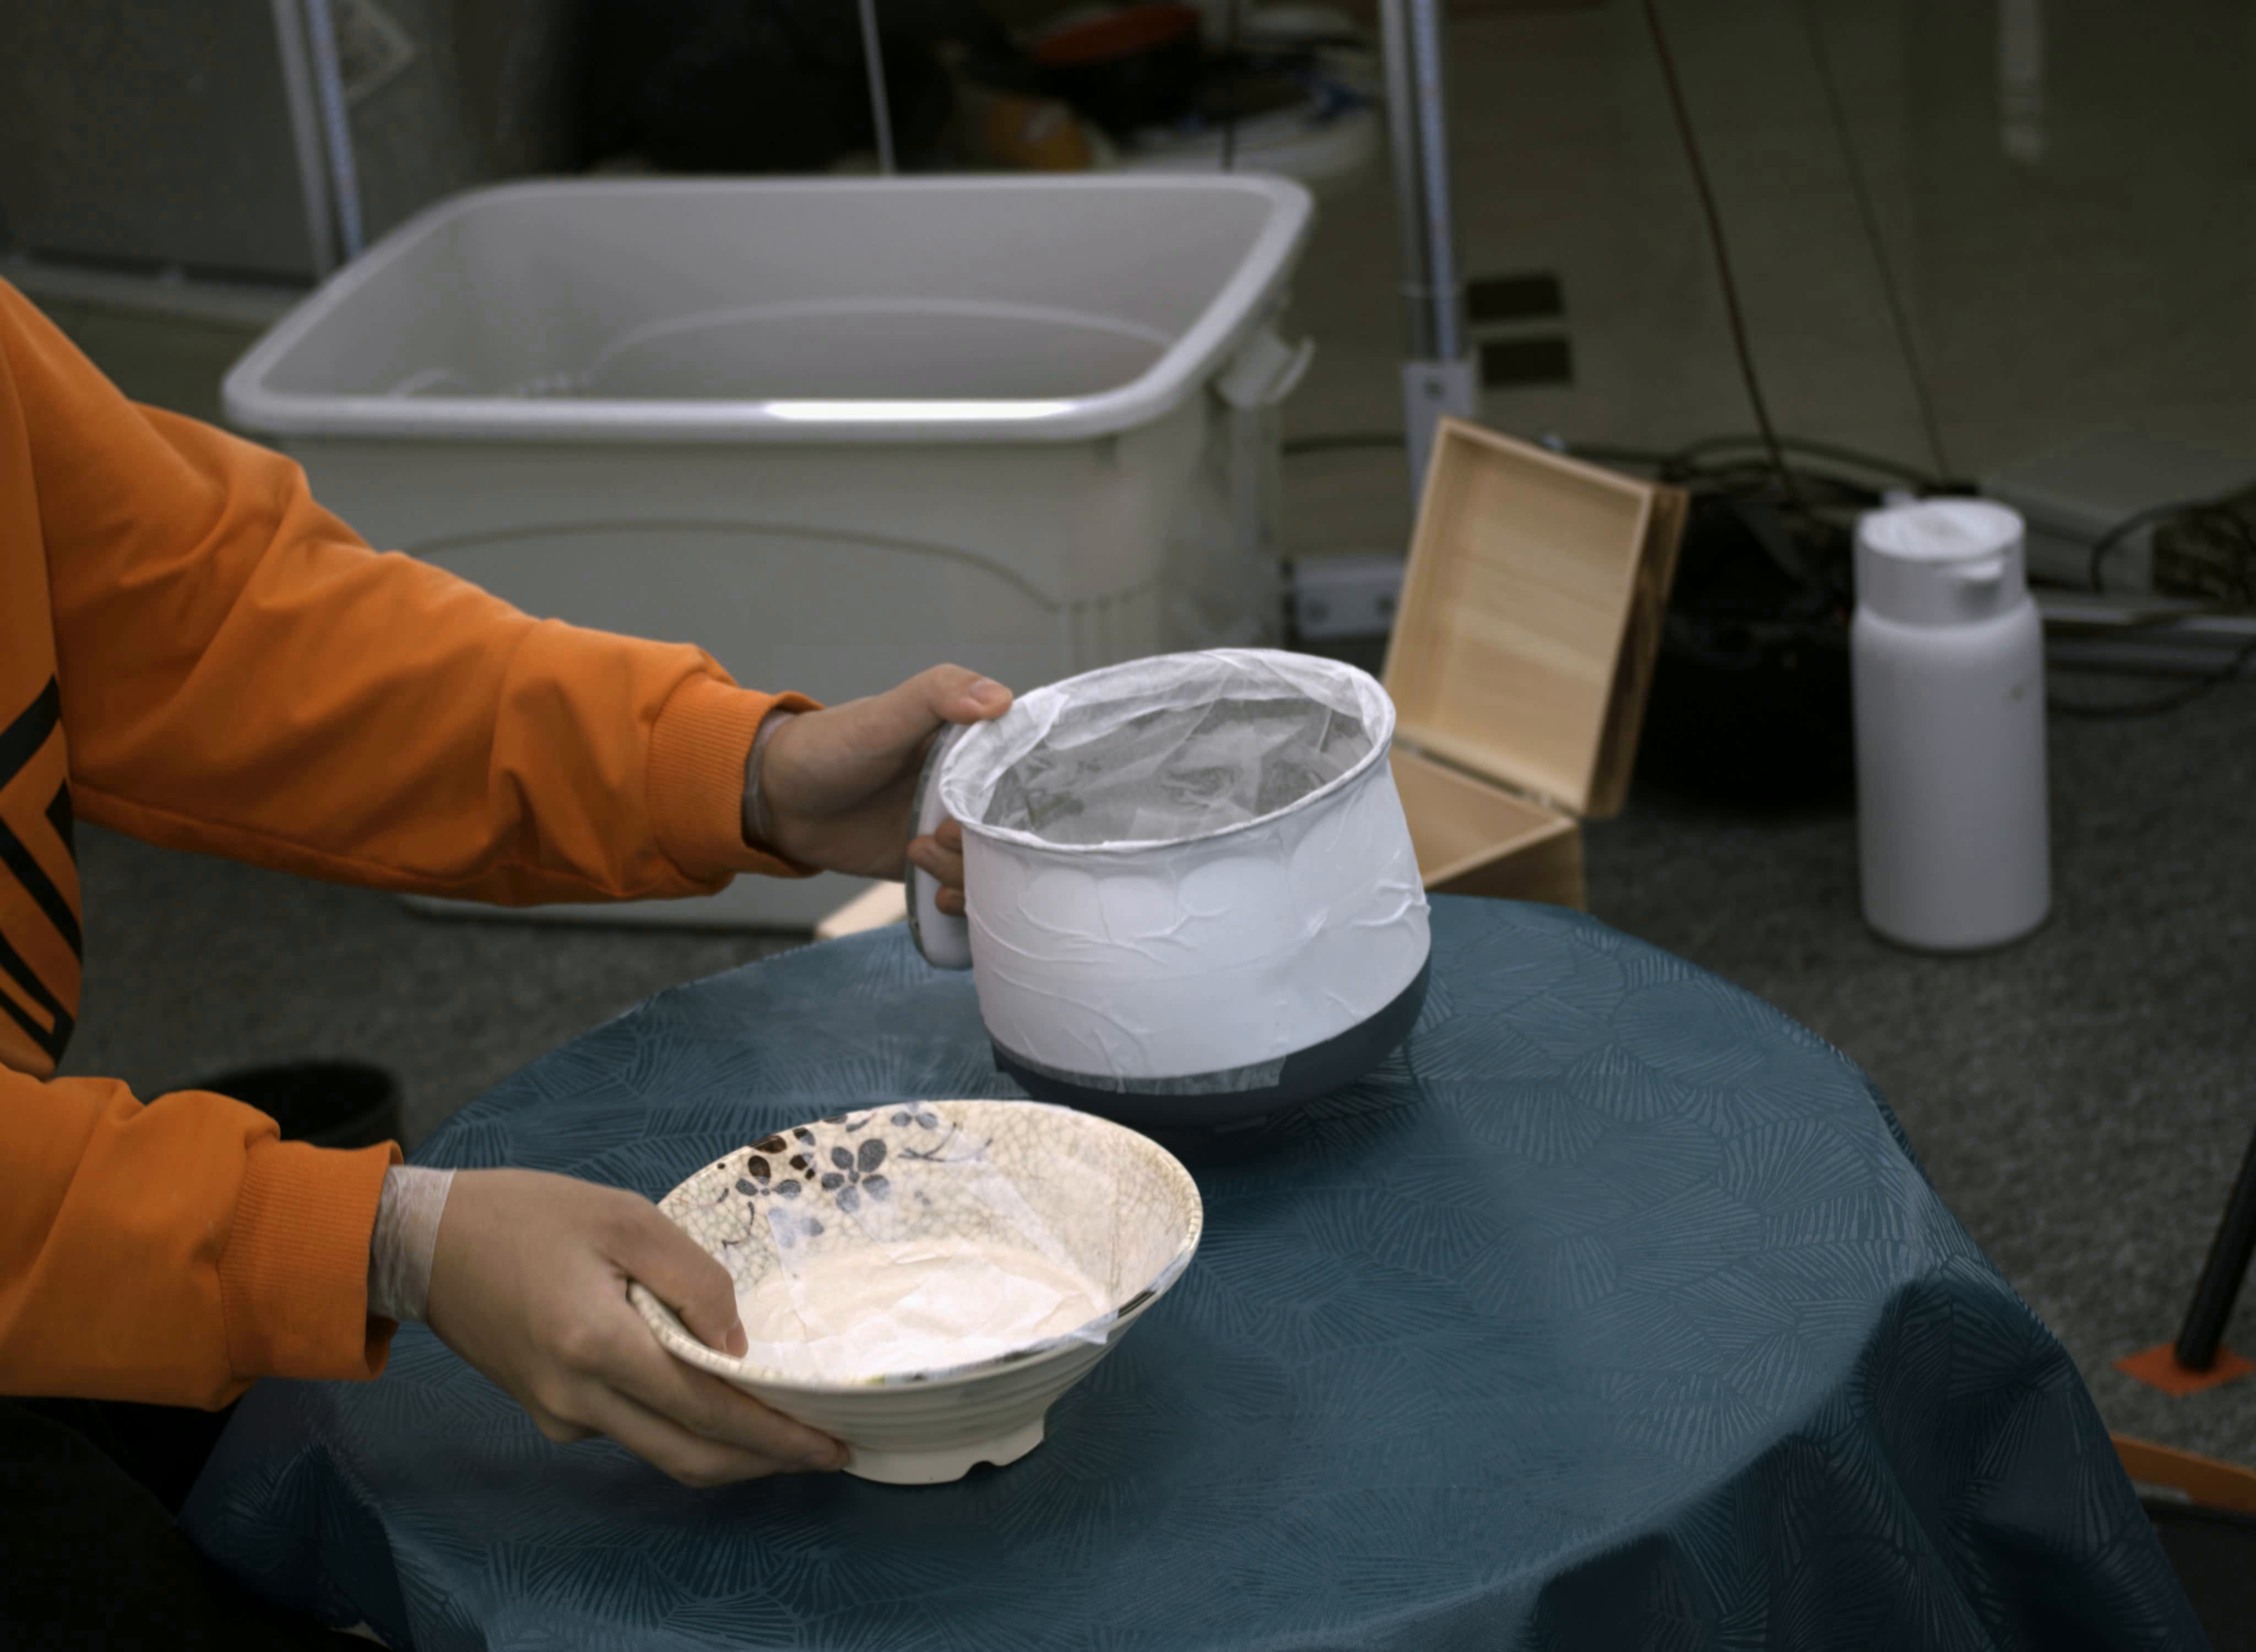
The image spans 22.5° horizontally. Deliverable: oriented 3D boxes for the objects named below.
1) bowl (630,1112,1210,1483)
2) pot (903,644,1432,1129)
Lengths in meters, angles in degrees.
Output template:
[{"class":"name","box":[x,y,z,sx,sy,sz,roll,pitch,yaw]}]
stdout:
[{"class":"bowl","box":[-0.069,0.176,1.988,0.203,0.079,0.201,-5,22,2]},{"class":"pot","box":[0.003,0.021,2.192,0.232,0.139,0.177,10,32,37]}]
